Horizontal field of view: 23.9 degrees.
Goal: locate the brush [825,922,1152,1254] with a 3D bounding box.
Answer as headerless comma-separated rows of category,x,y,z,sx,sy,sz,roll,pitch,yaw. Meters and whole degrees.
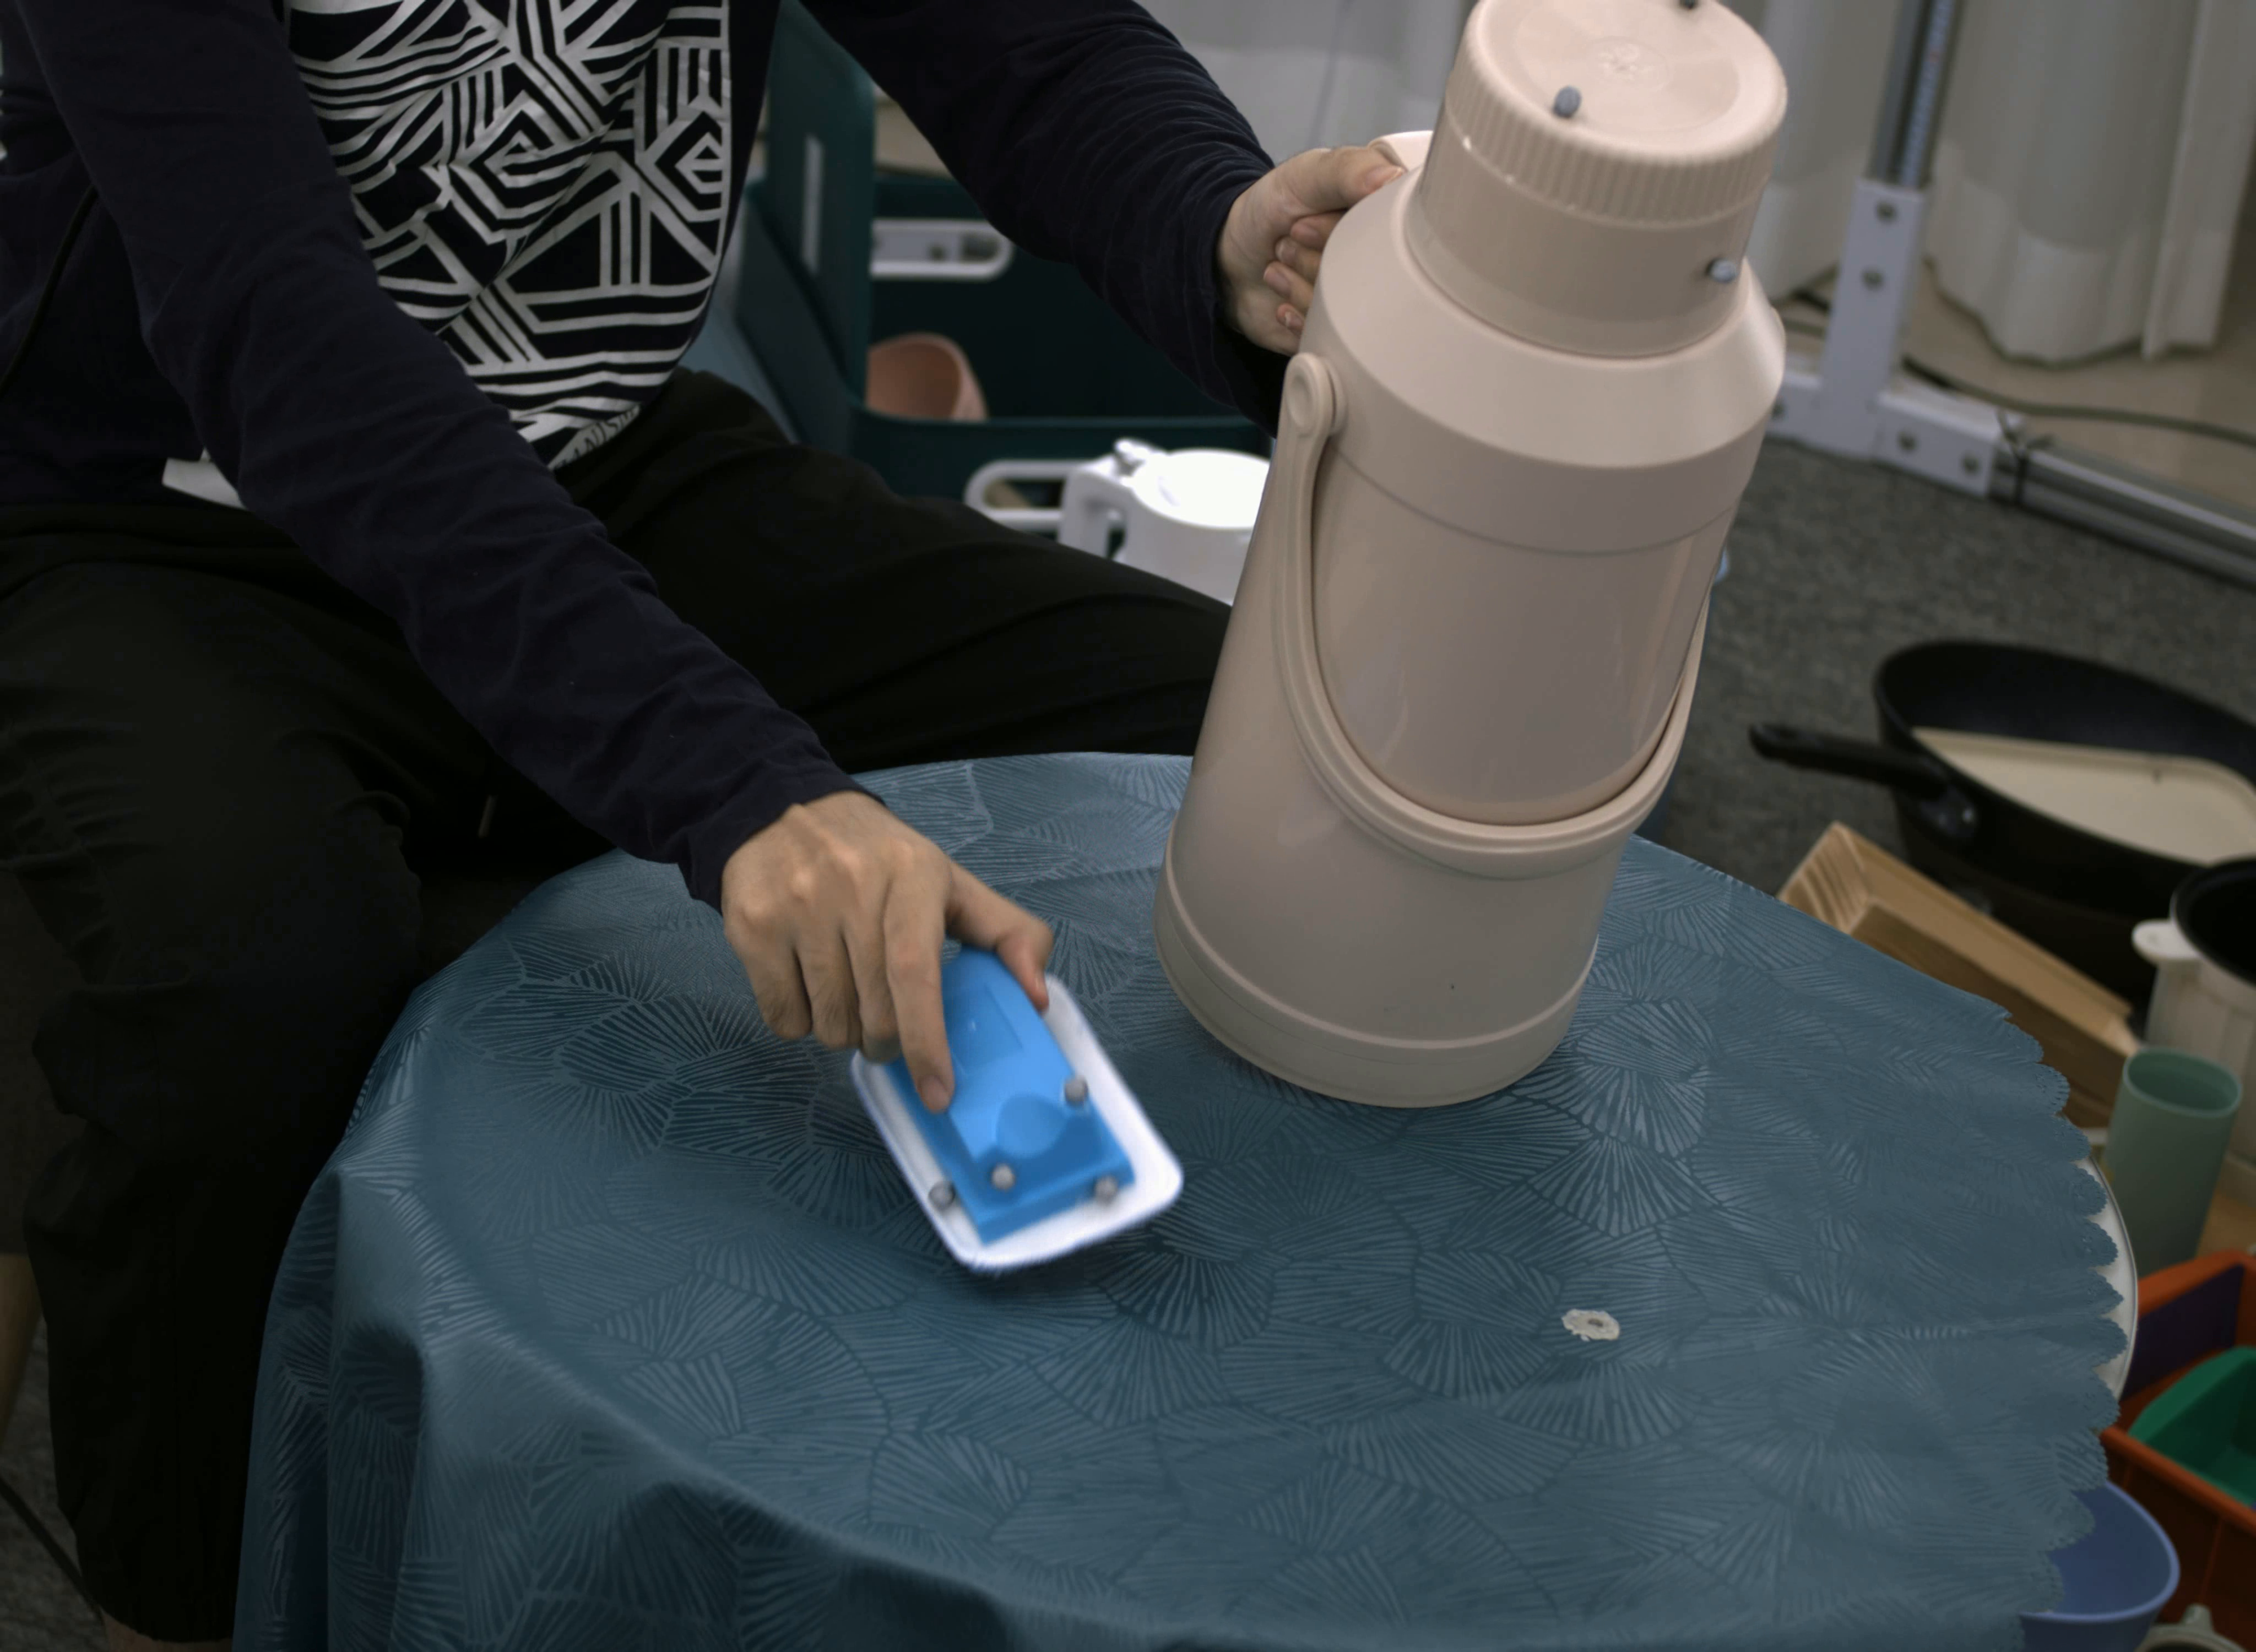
brush,-0.048,0.082,1.779,0.083,0.055,0.145,-17,38,-11

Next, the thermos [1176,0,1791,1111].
thermos,0.120,-0.107,1.812,0.174,0.404,0.209,-11,46,-23
